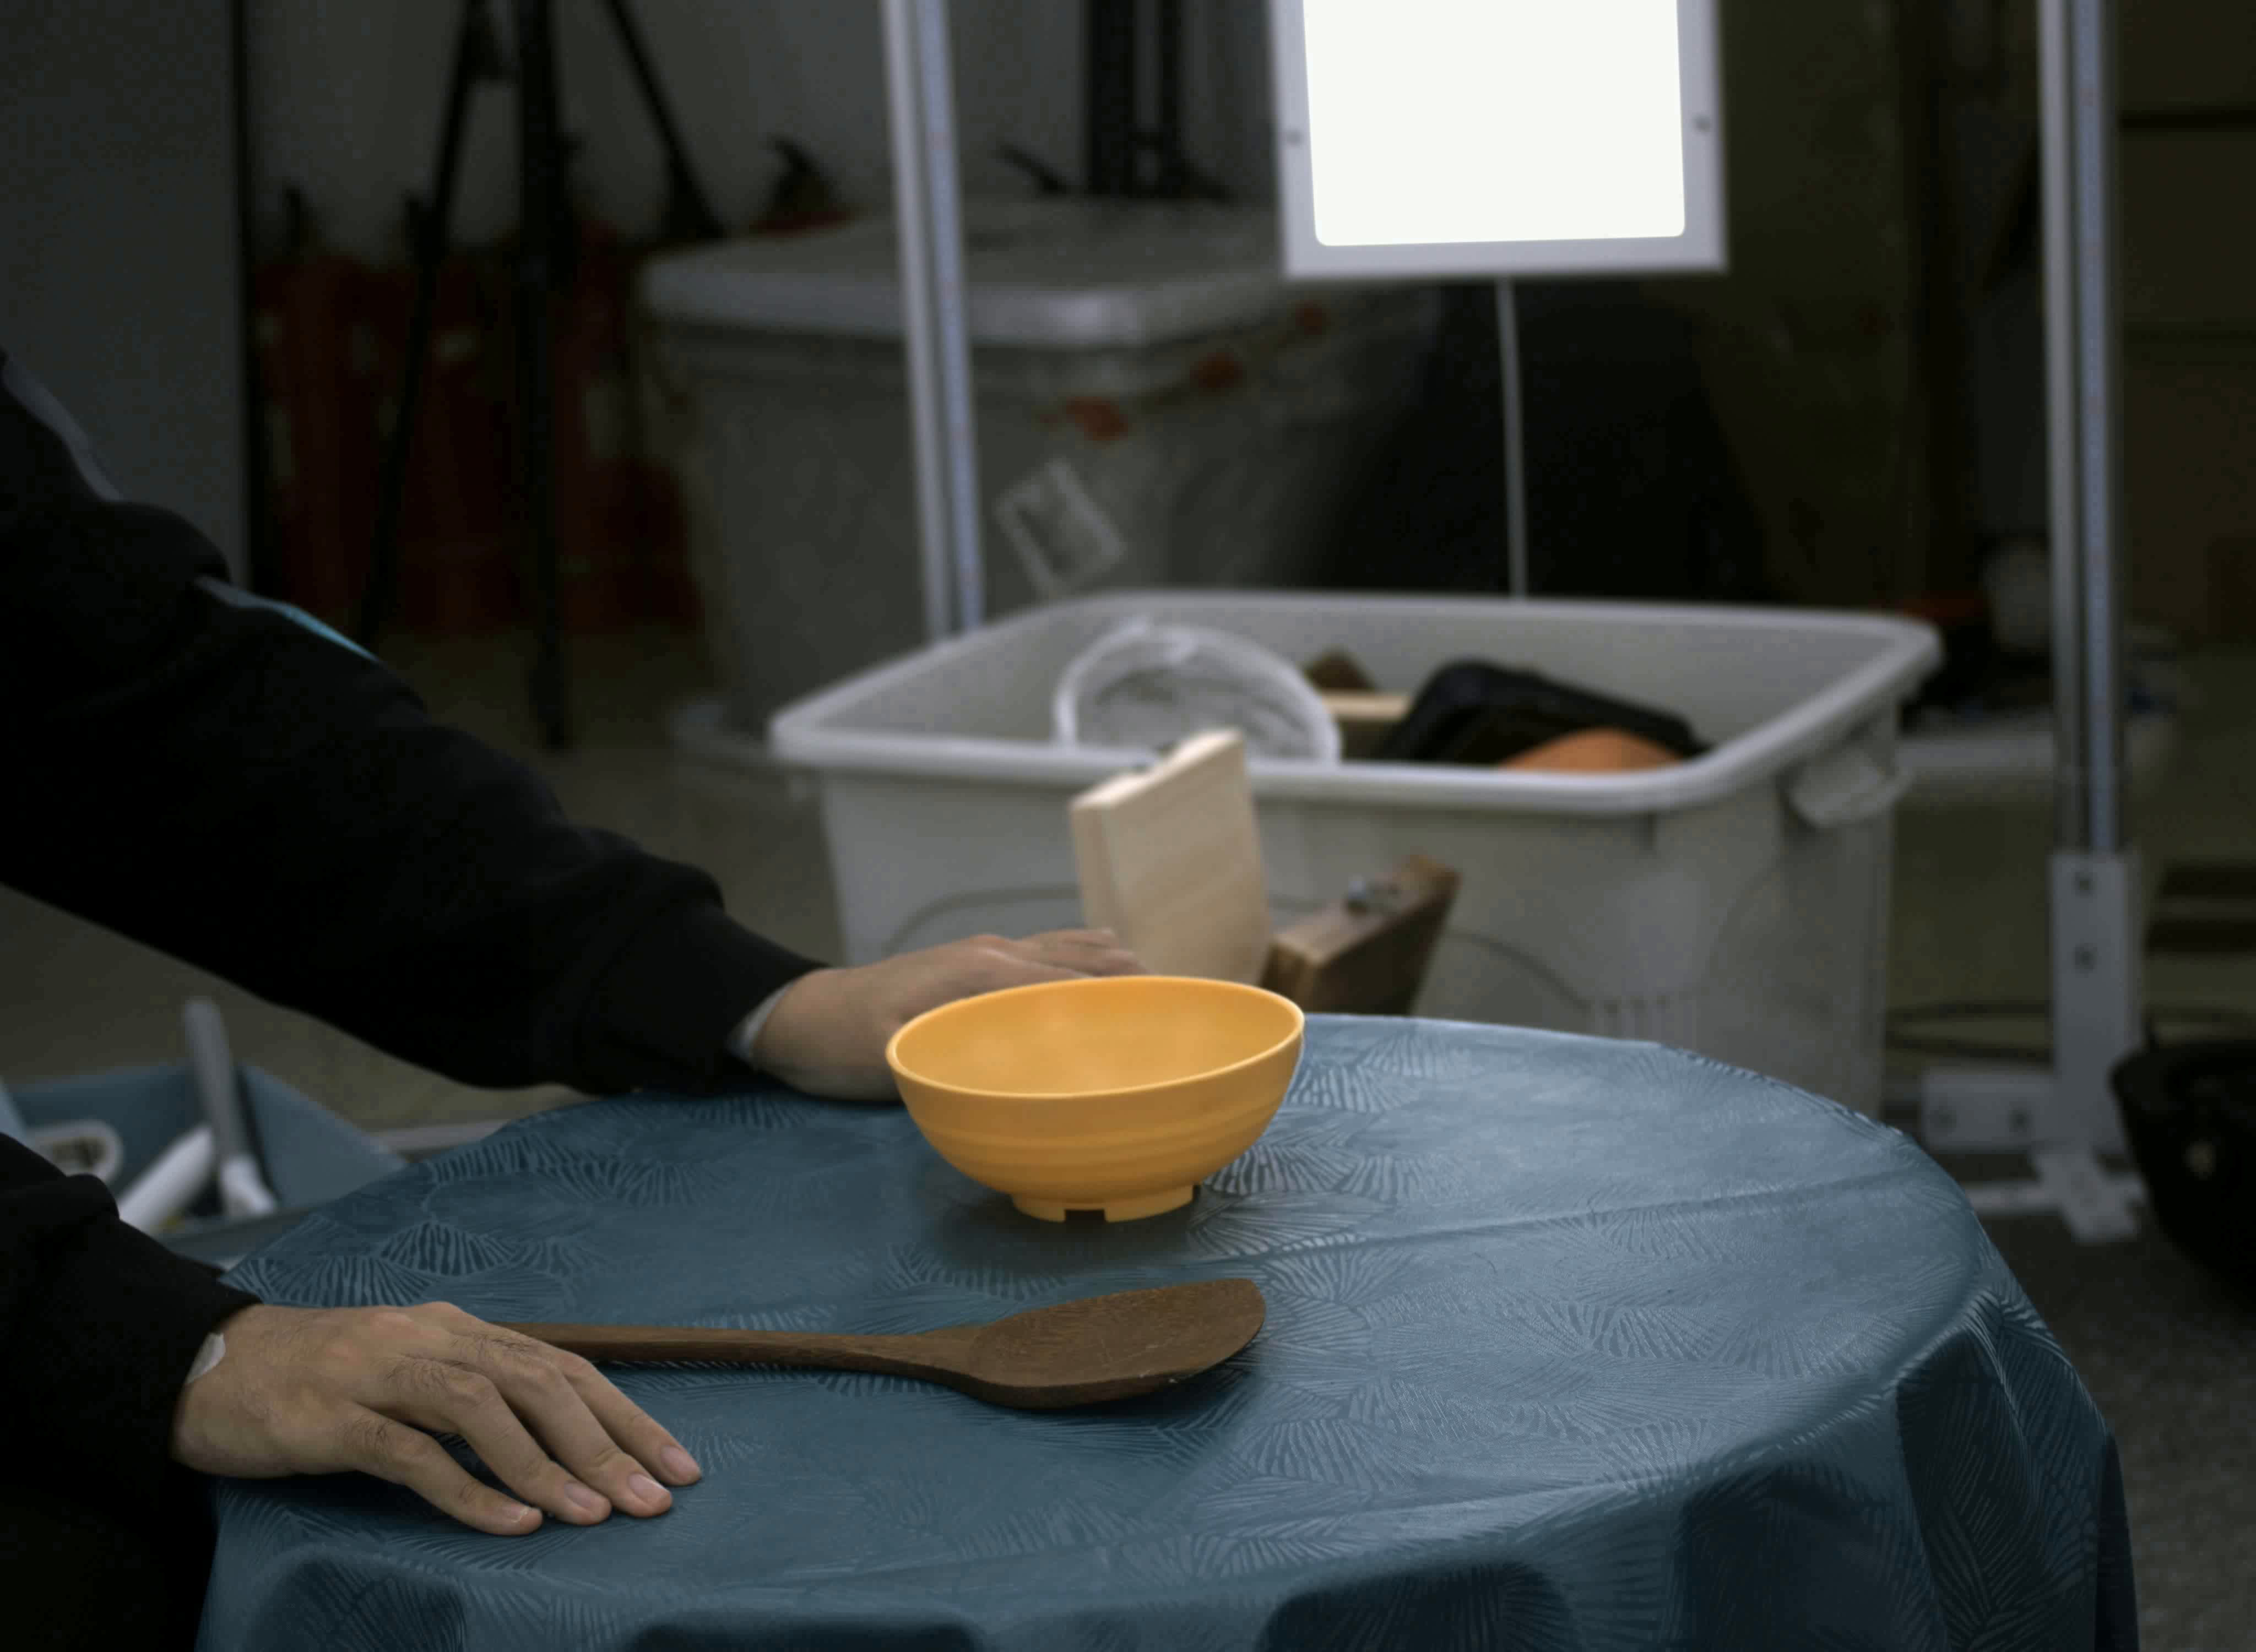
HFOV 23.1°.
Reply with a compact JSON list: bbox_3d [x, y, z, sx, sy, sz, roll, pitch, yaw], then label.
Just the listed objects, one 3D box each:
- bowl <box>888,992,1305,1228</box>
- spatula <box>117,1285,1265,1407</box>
[{"bbox_3d":[-0.009,0.101,1.890,0.145,0.060,0.145,-6,11,0],"label":"bowl"},{"bbox_3d":[-0.145,0.166,1.763,0.390,0.016,0.095,-1,14,17],"label":"spatula"}]
